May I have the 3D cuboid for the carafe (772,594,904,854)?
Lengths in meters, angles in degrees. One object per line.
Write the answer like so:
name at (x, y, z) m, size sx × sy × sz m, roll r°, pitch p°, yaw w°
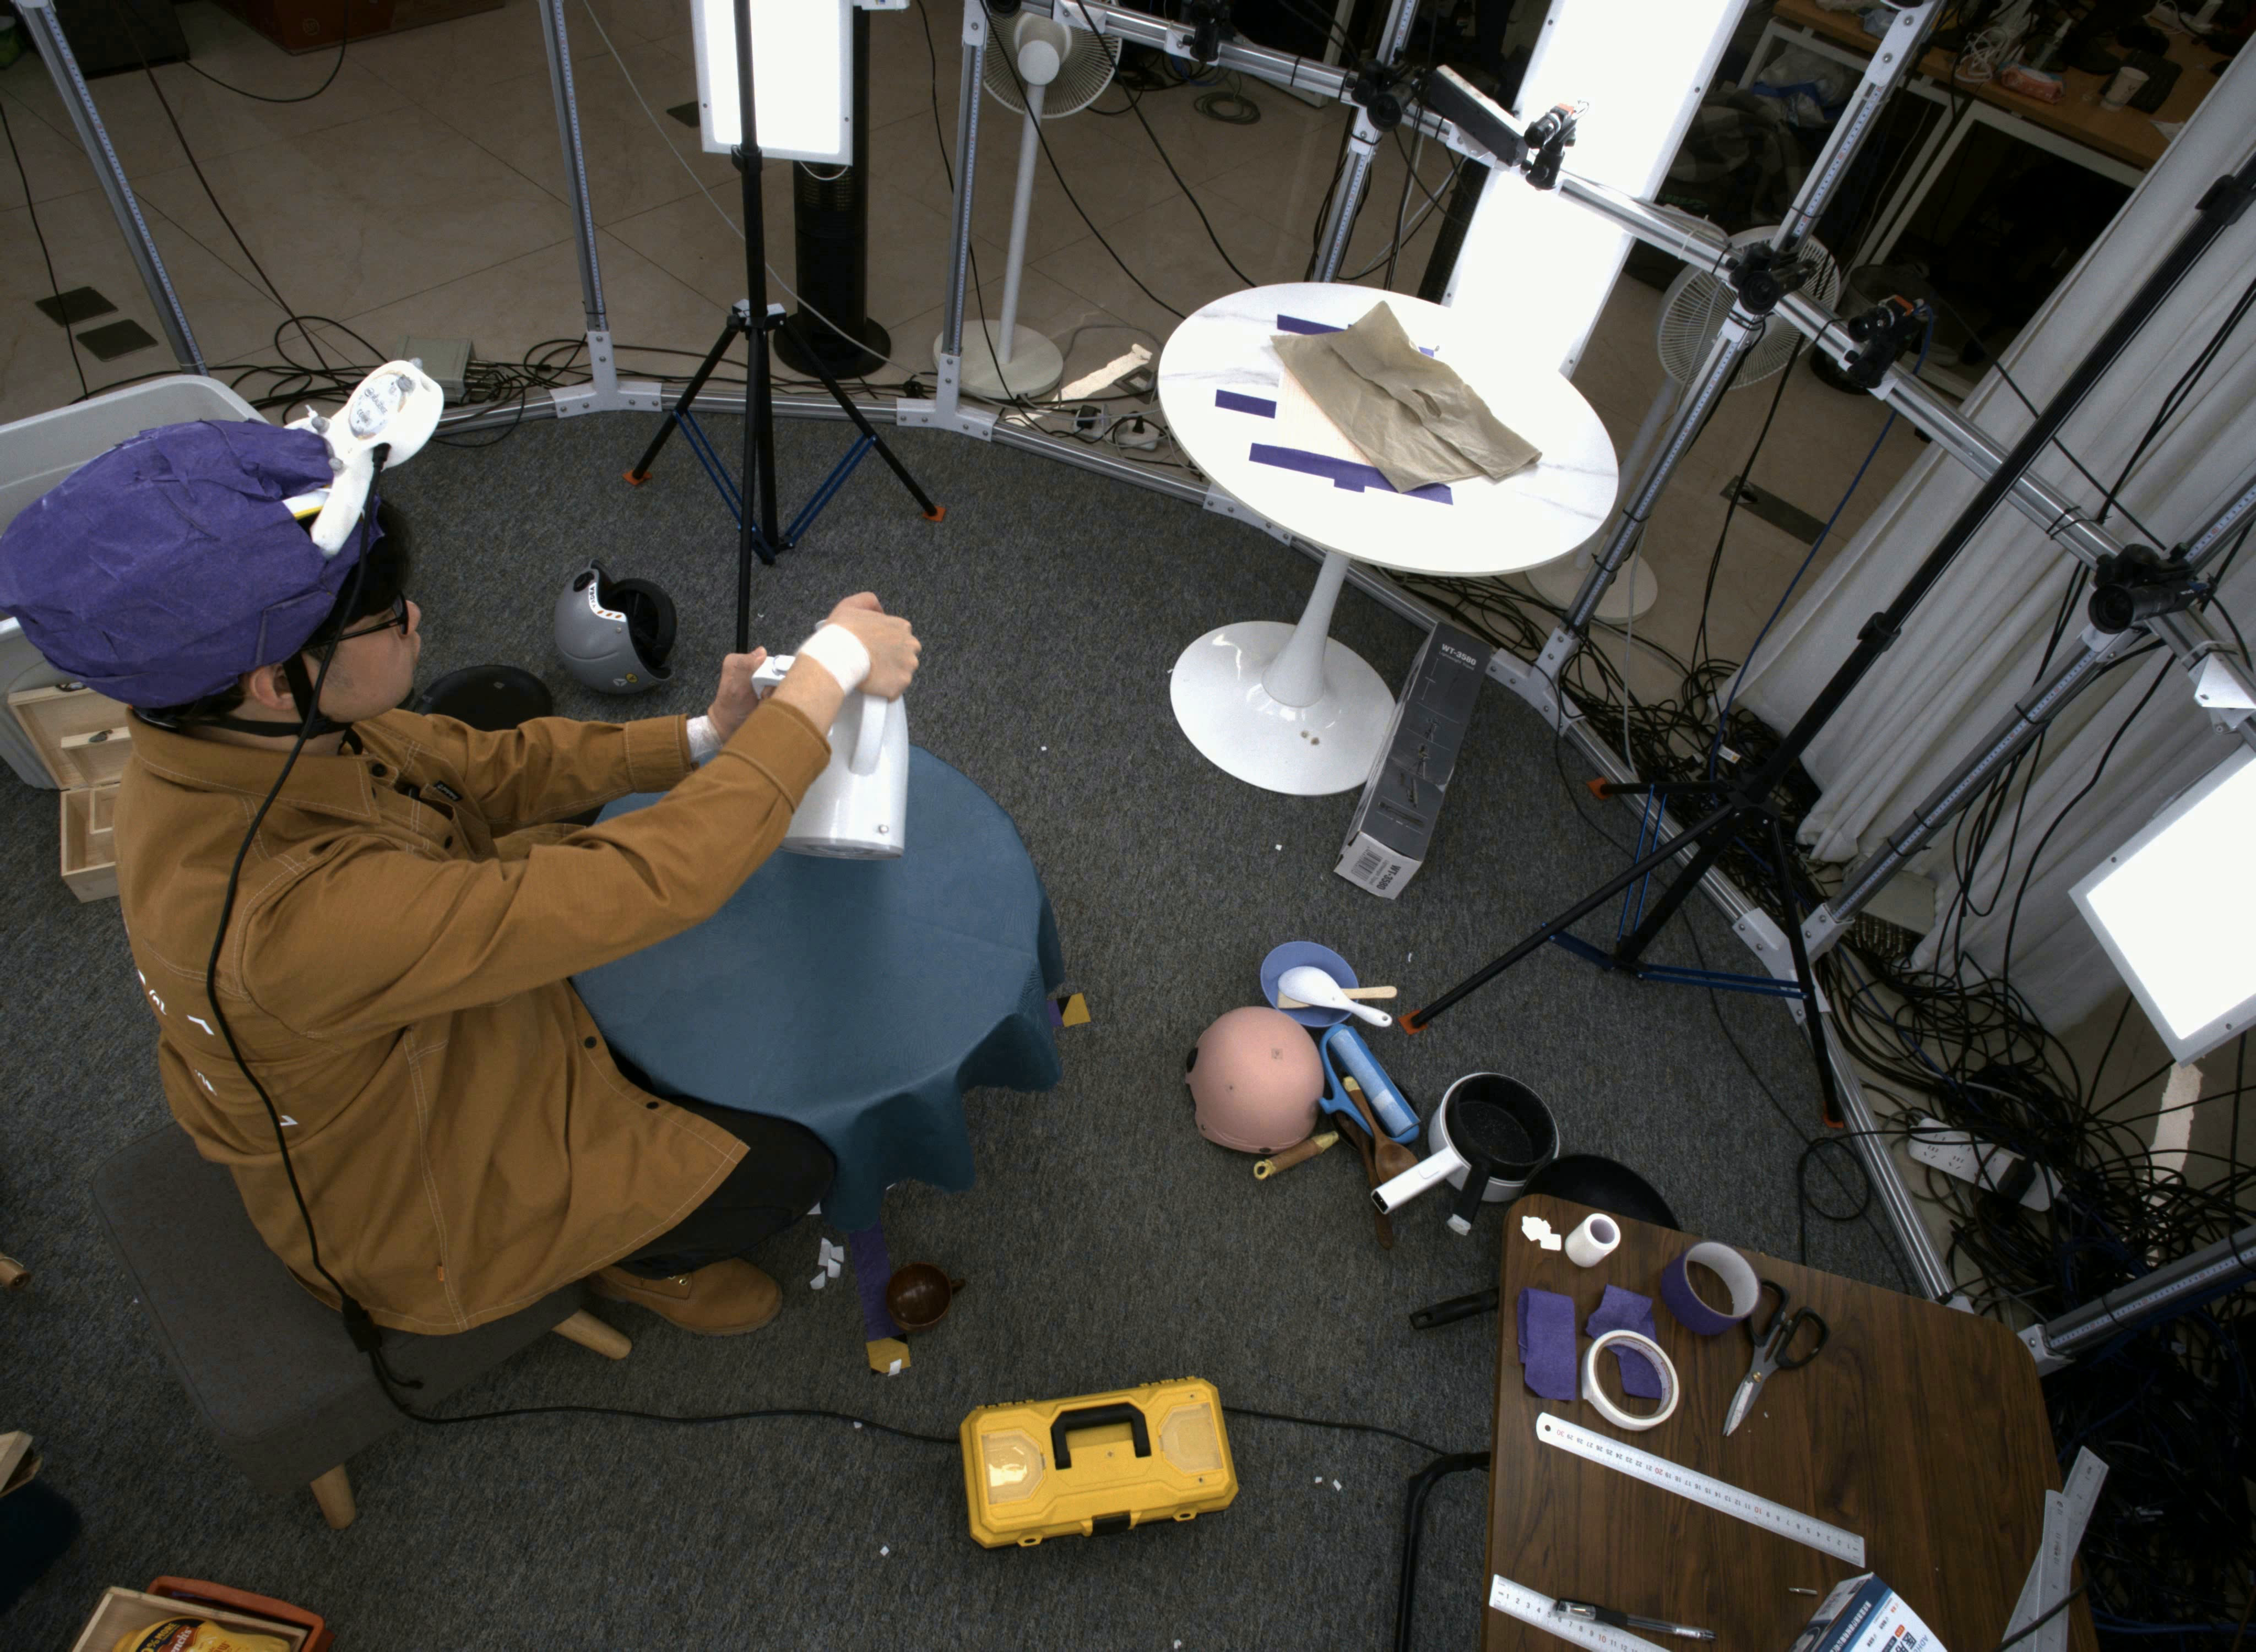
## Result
carafe at (-0.289, -0.107, 1.342) m, size 0.134 × 0.164 × 0.250 m, roll 6°, pitch 82°, yaw -26°

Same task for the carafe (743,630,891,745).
carafe at (-0.381, -0.124, 1.591) m, size 0.173 × 0.271 × 0.123 m, roll 10°, pitch 64°, yaw -9°
